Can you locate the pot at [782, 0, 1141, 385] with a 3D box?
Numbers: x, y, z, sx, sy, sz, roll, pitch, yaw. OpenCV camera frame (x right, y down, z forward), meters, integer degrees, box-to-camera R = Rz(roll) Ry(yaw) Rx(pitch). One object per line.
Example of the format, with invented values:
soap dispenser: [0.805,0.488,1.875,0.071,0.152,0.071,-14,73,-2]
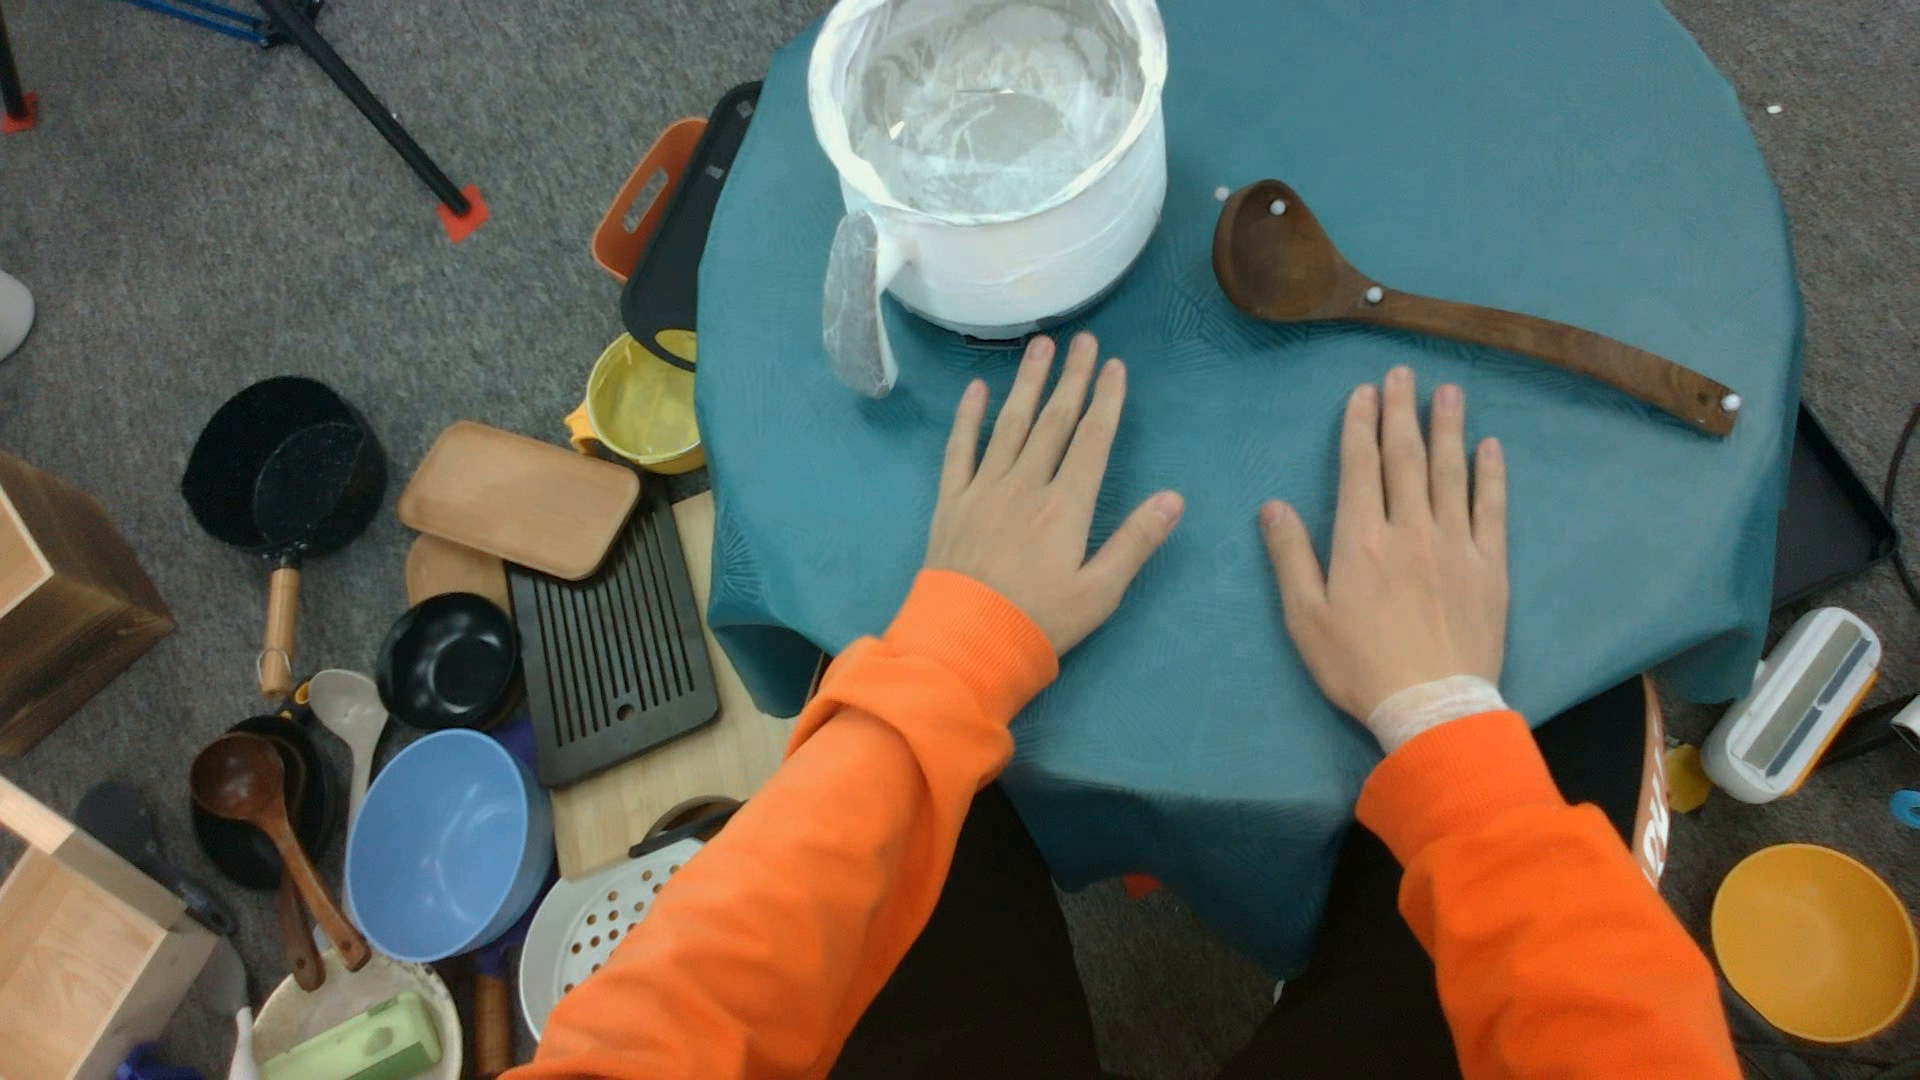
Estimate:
pot: [-0.008,-0.194,0.729,0.179,0.136,0.234,30,77,17]

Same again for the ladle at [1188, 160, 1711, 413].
ladle: [0.251,-0.127,0.705,0.274,0.071,0.076,19,77,15]
